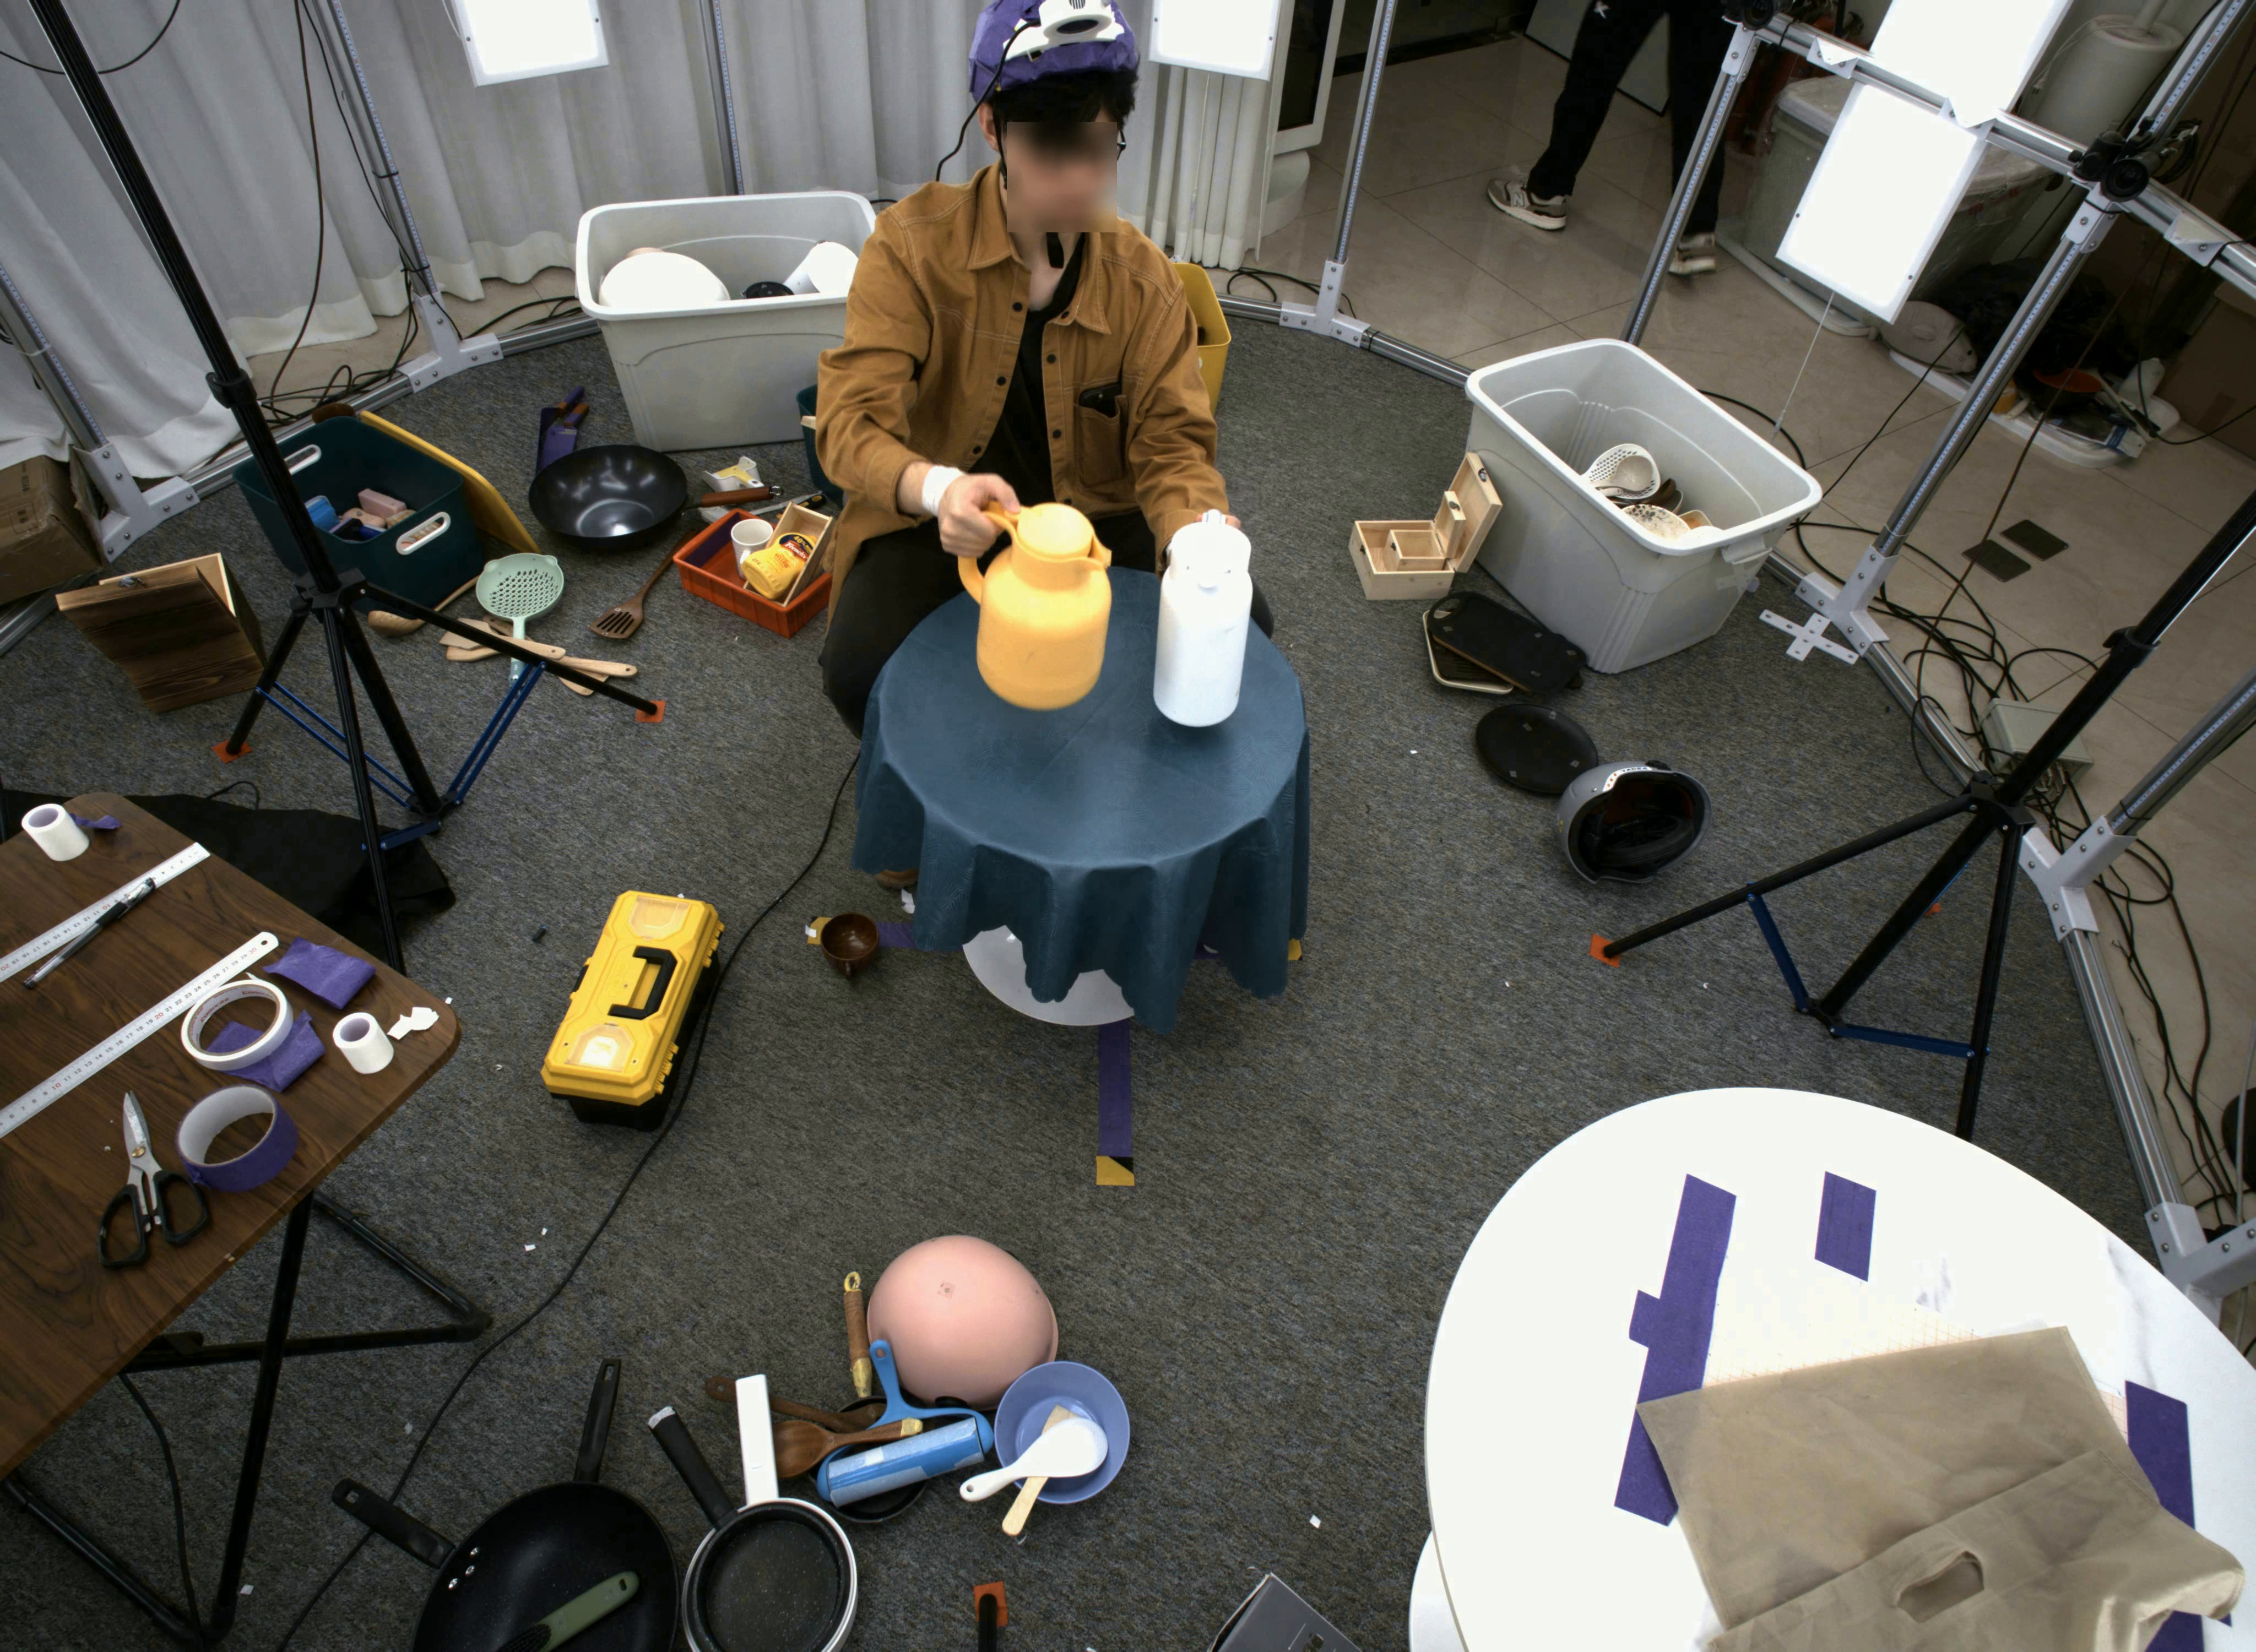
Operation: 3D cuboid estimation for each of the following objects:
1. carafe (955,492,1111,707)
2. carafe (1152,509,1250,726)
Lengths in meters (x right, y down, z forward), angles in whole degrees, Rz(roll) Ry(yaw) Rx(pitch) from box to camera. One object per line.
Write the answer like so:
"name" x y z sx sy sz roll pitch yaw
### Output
"carafe" -0.122 -0.289 1.589 0.203 0.254 0.166 30 50 11
"carafe" 0.095 -0.274 1.682 0.124 0.262 0.177 4 48 4
